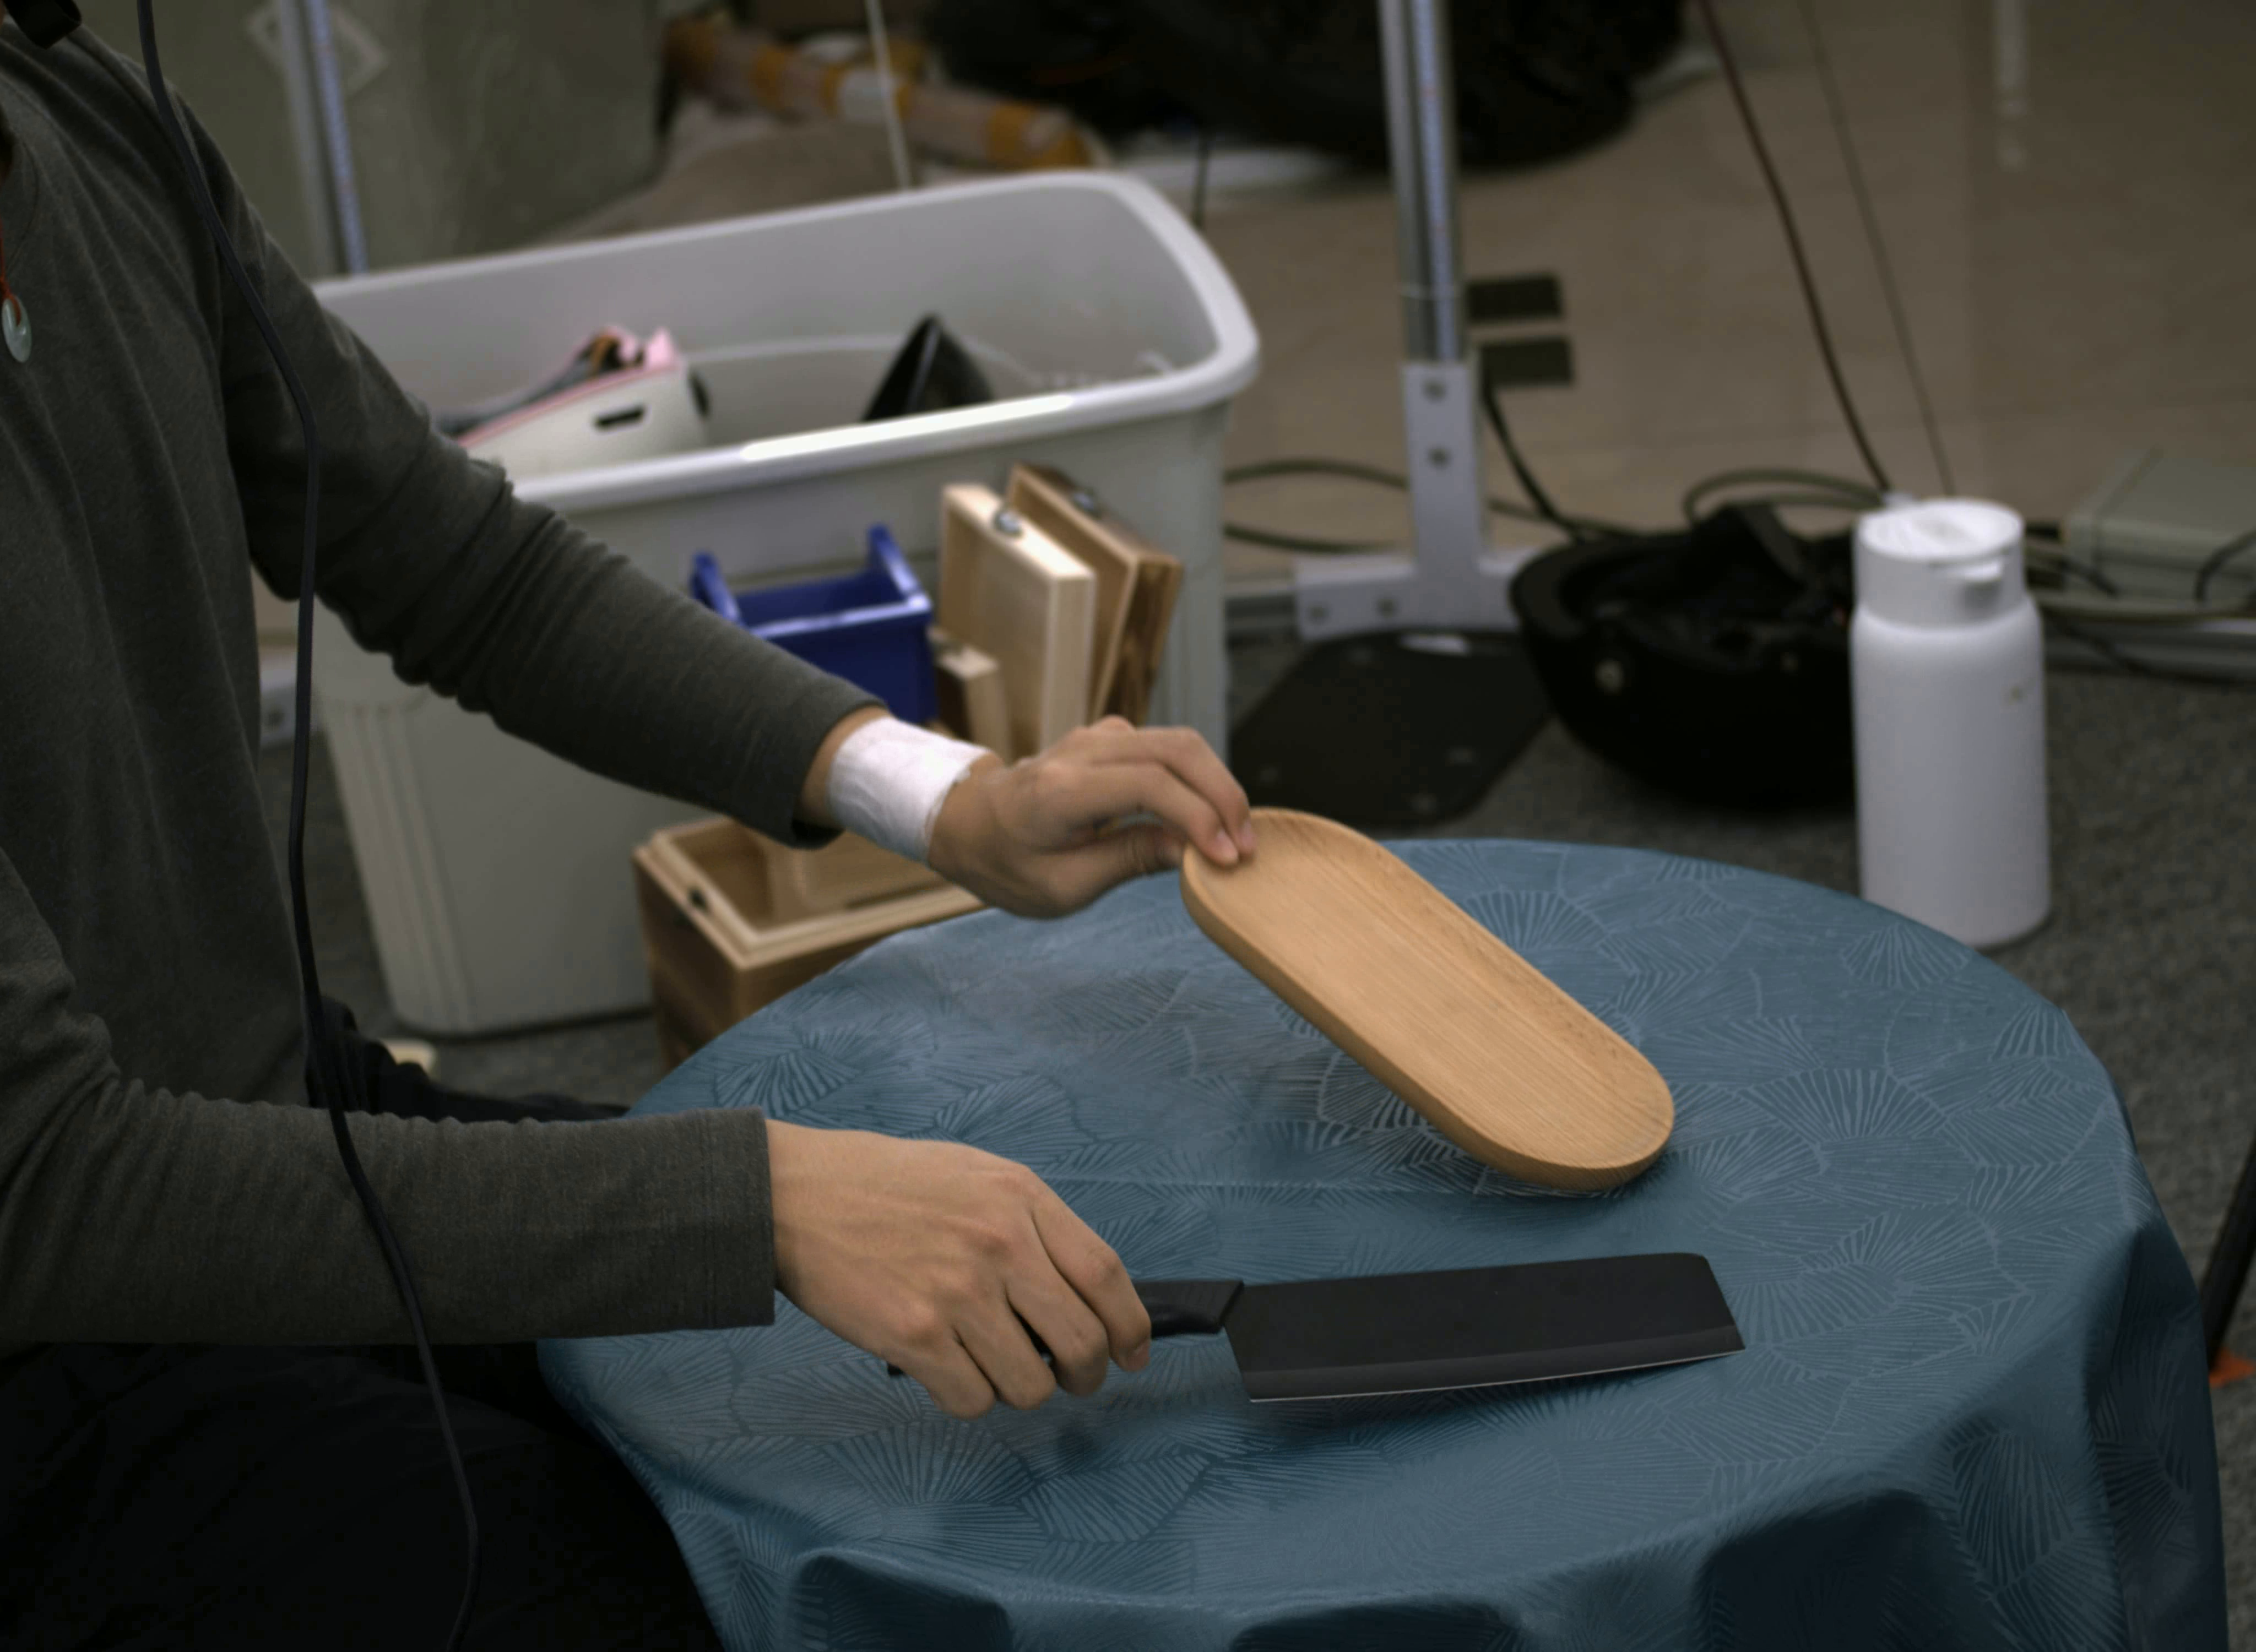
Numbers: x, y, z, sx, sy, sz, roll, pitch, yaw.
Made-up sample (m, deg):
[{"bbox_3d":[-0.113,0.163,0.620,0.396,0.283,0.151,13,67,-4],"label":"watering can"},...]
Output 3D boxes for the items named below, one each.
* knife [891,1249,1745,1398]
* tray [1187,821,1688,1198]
[{"bbox_3d":[0.066,0.178,1.999,0.302,0.021,0.079,-2,31,-7],"label":"knife"},{"bbox_3d":[0.116,0.069,2.164,0.101,0.021,0.228,-22,52,-42],"label":"tray"}]
